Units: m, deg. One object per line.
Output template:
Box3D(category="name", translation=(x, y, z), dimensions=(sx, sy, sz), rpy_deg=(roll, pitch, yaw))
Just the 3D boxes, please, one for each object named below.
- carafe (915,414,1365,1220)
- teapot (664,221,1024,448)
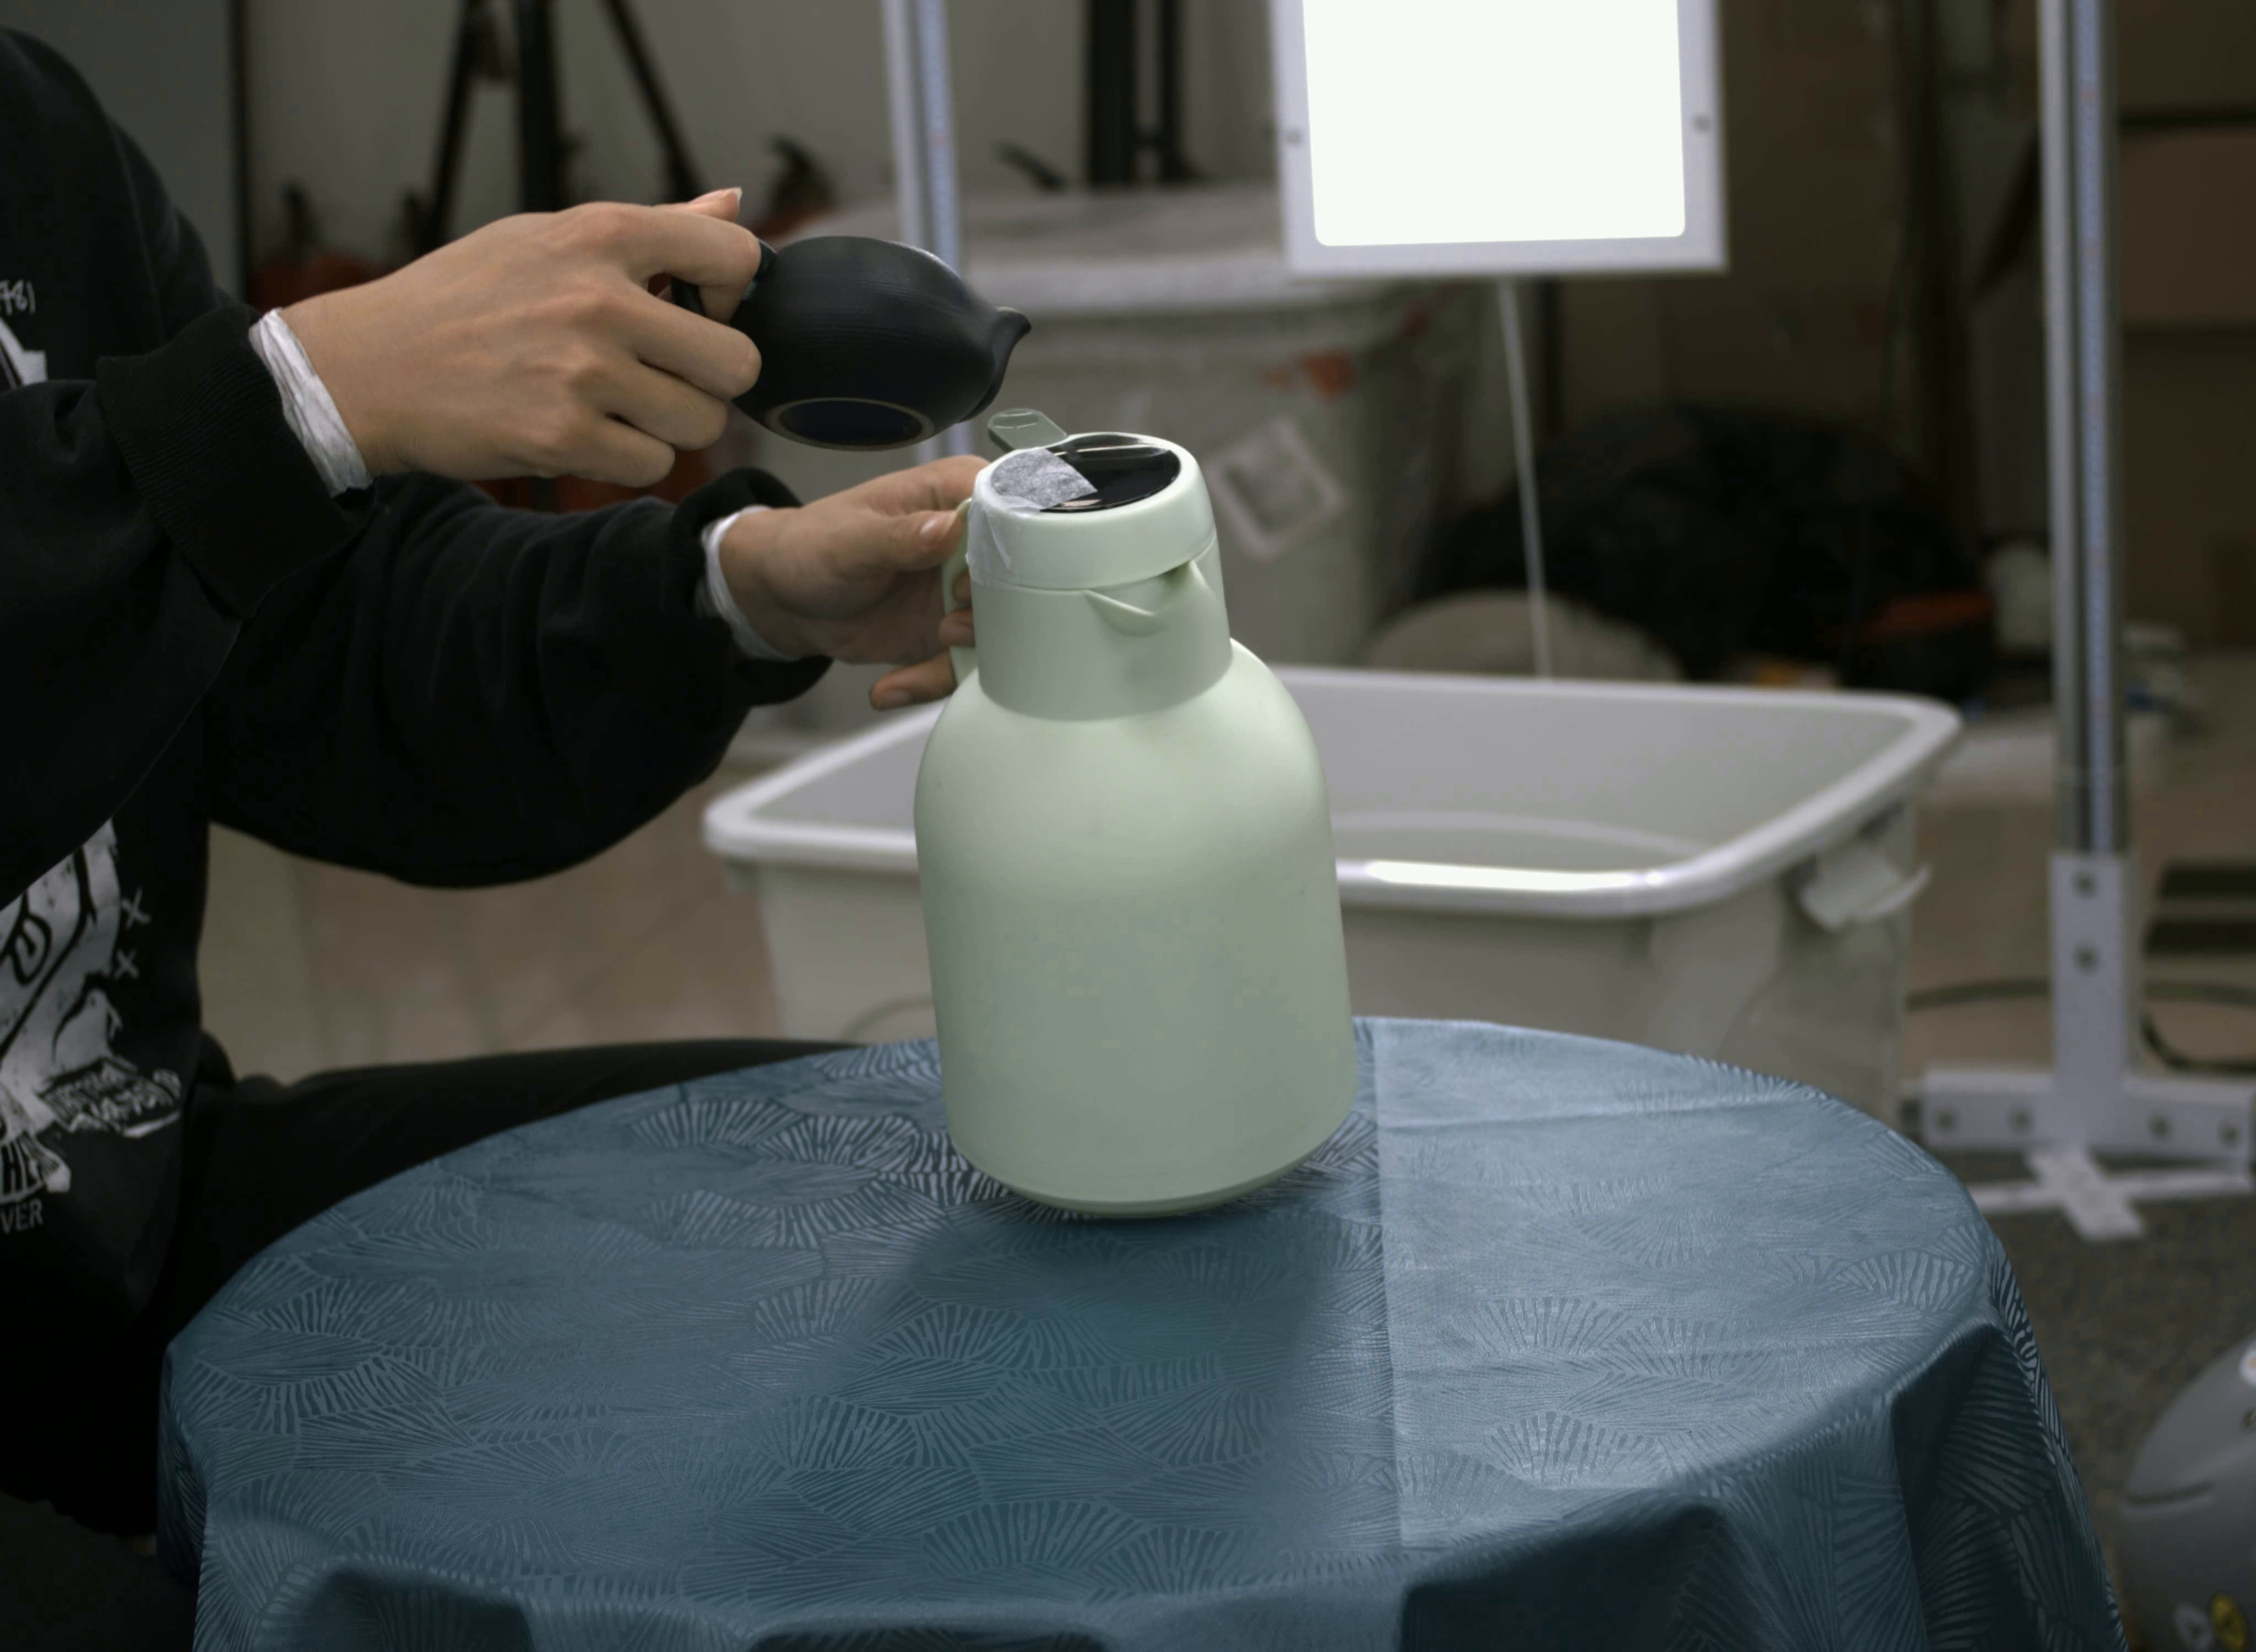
Box3D(category="carafe", translation=(-0.008, -0.010, 1.879), dimensions=(0.142, 0.257, 0.189), rpy_deg=(-18, 25, -19))
Box3D(category="teapot", translation=(-0.089, -0.153, 1.736), dimensions=(0.130, 0.053, 0.093), rpy_deg=(14, -19, -32))
